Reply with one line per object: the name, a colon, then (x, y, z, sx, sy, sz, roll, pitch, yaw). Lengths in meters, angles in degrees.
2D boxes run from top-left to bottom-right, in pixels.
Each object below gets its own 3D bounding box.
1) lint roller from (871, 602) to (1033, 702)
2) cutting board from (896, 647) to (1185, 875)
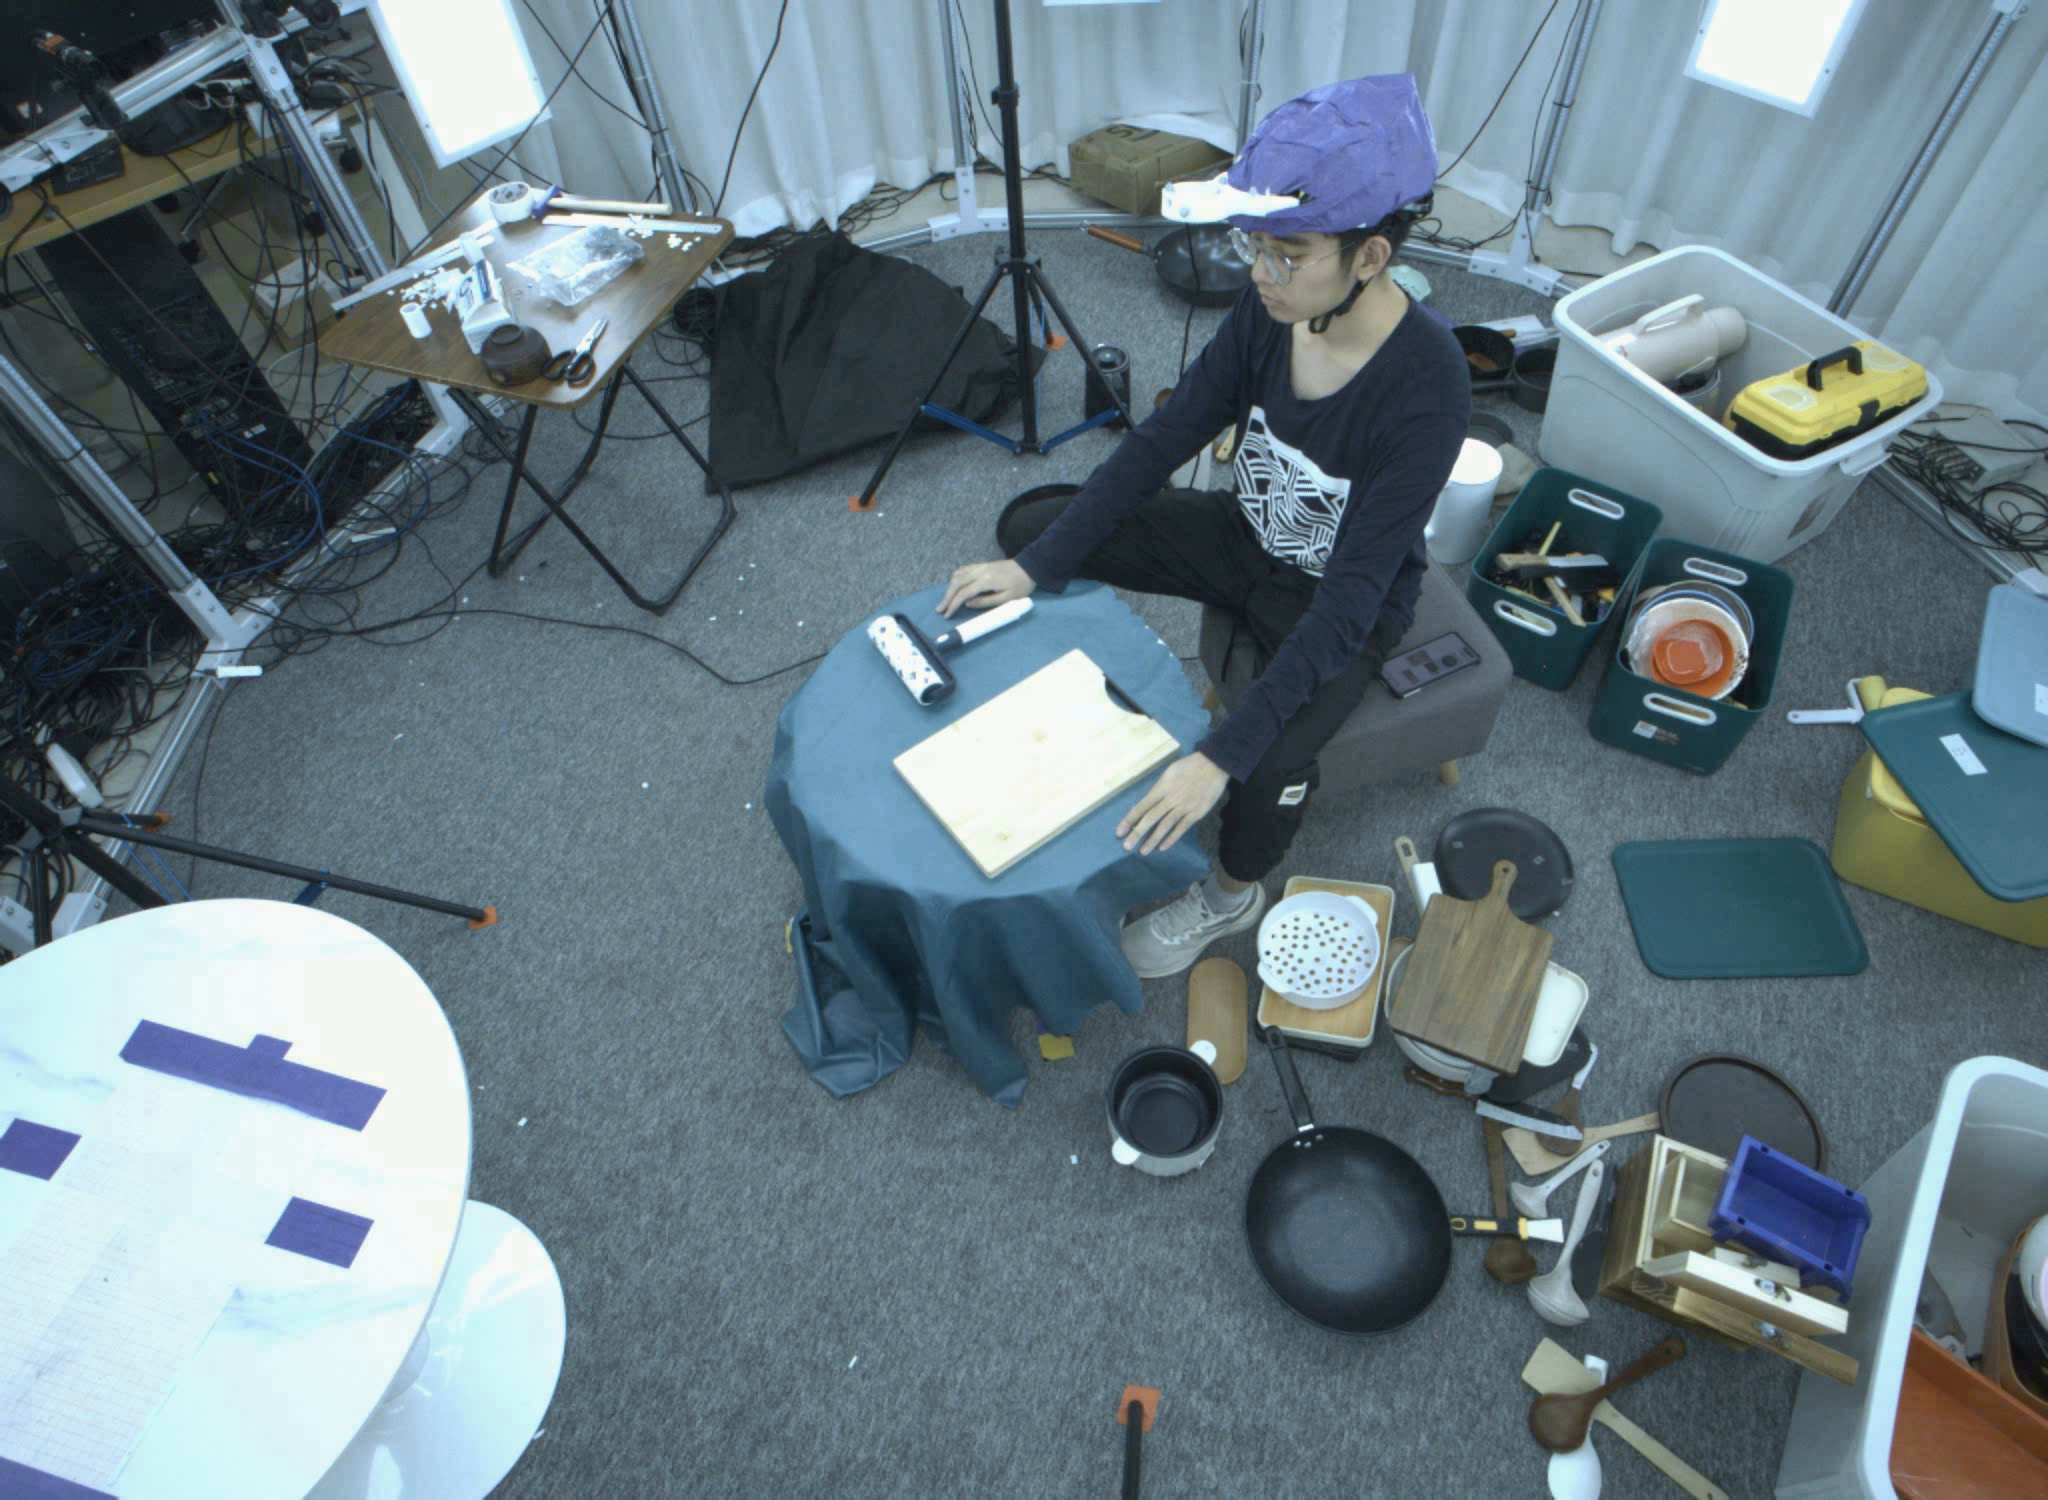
lint roller: (-0.095, -0.183, 1.903, 0.249, 0.051, 0.173, -28, 57, -20)
cutting board: (0.021, 0.006, 1.780, 0.351, 0.024, 0.246, -33, 60, -20)
